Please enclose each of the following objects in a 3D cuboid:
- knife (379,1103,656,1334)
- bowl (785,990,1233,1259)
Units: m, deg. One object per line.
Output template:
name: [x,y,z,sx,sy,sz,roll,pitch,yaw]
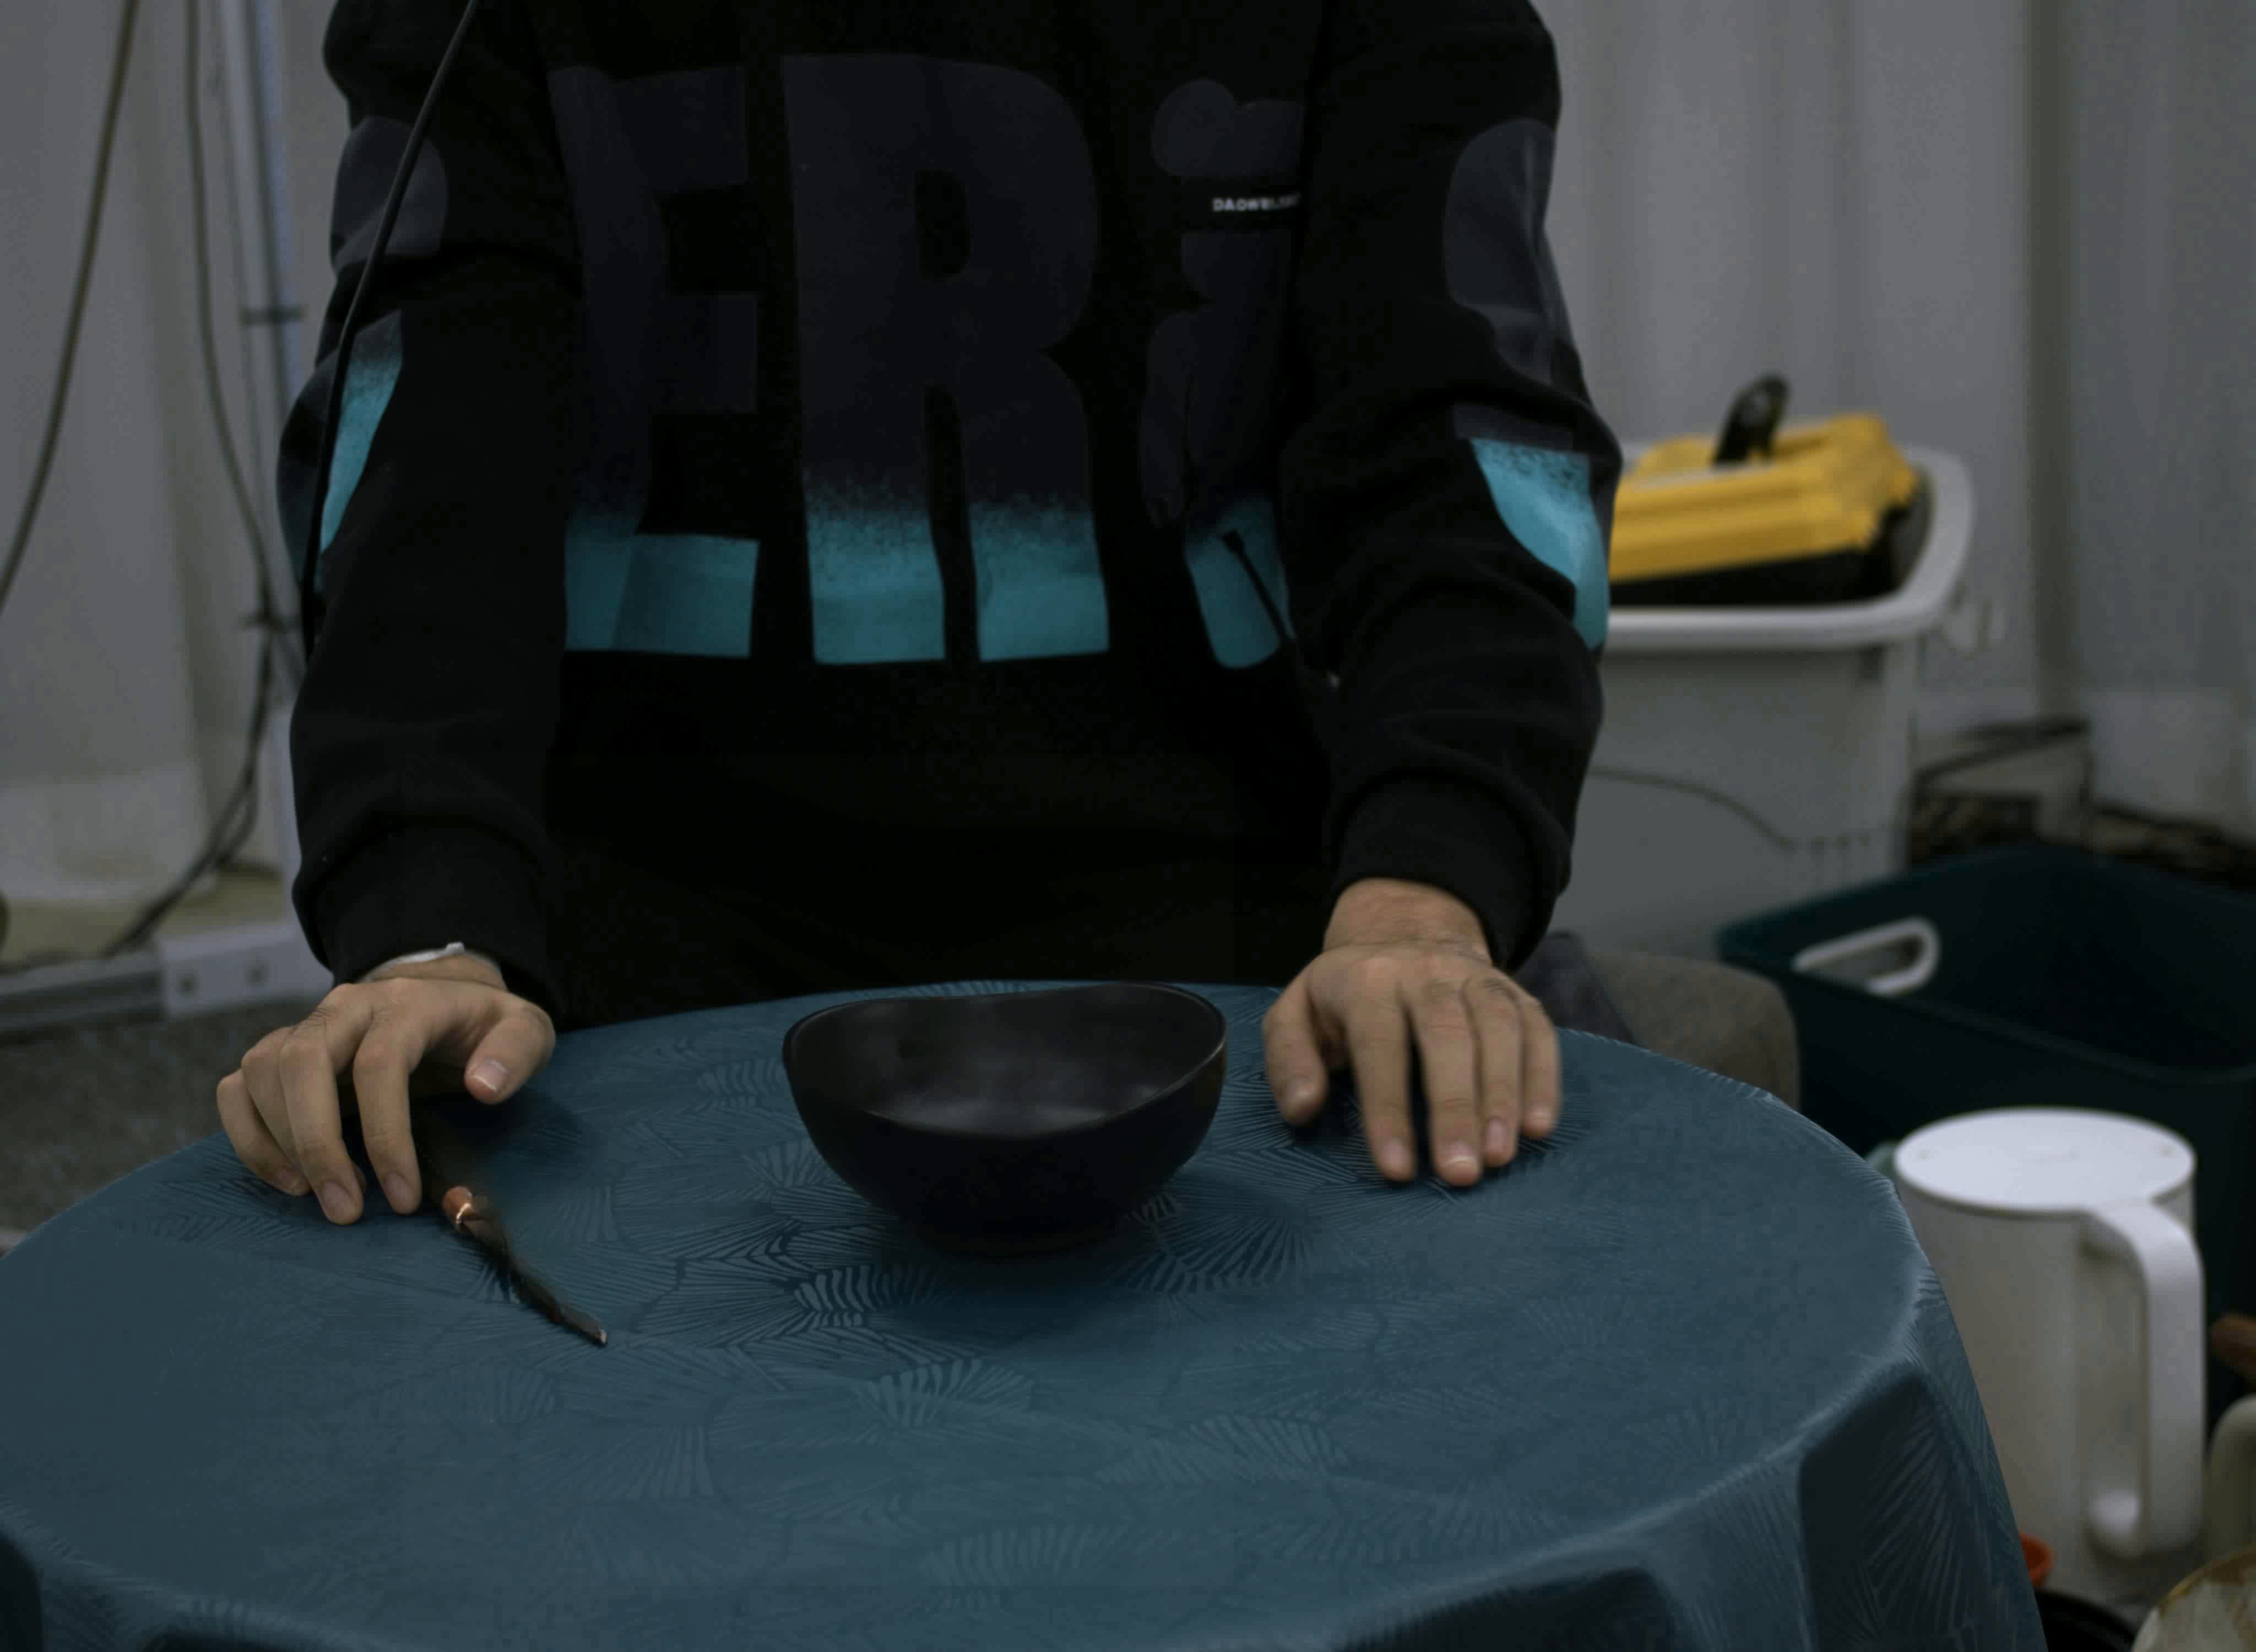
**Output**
knife: [-0.192,0.123,1.701,0.026,0.017,0.227,-12,18,-22]
bowl: [-0.036,0.093,1.680,0.137,0.066,0.171,-3,13,-4]
